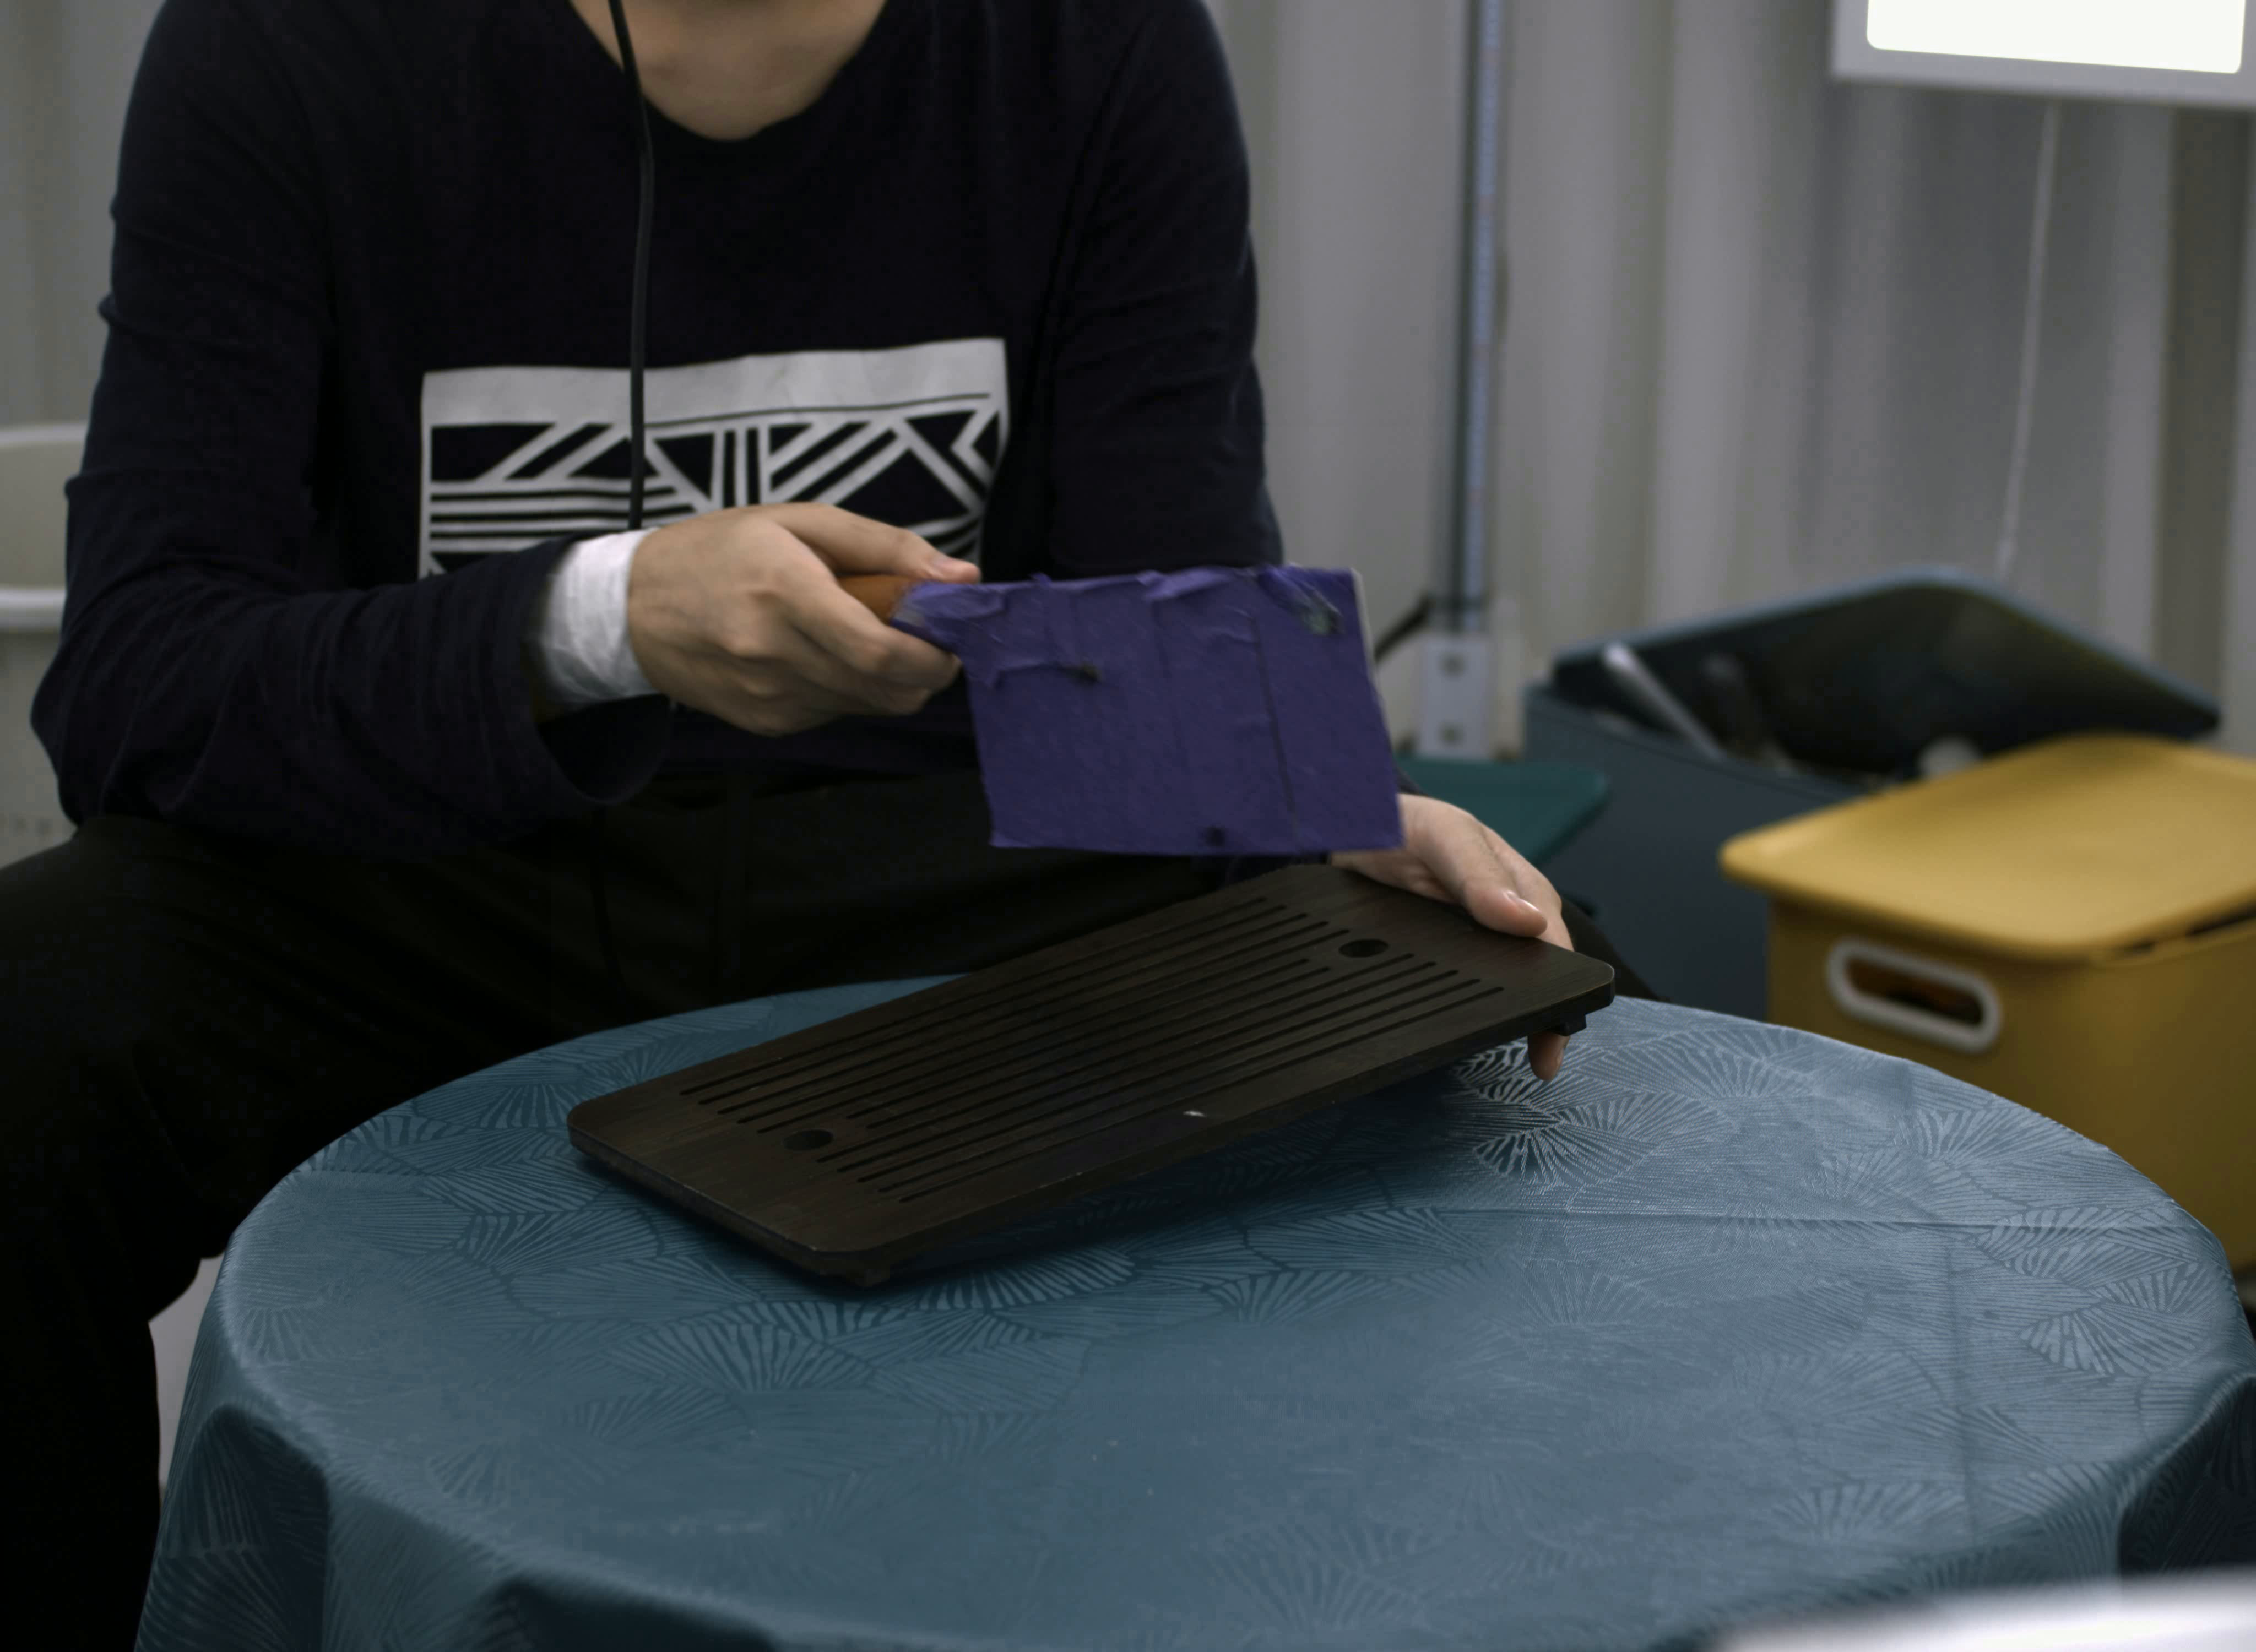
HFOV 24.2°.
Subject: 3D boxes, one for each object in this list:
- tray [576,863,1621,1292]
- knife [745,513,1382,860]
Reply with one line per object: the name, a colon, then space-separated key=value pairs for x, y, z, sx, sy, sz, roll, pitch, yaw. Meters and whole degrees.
tray: x=-0.007 y=0.076 z=1.661 sx=0.307 sy=0.019 sz=0.168 roll=-18 pitch=23 yaw=-32
knife: x=-0.027 y=-0.040 z=1.709 sx=0.032 sy=0.104 sz=0.312 roll=-14 pitch=7 yaw=-35
